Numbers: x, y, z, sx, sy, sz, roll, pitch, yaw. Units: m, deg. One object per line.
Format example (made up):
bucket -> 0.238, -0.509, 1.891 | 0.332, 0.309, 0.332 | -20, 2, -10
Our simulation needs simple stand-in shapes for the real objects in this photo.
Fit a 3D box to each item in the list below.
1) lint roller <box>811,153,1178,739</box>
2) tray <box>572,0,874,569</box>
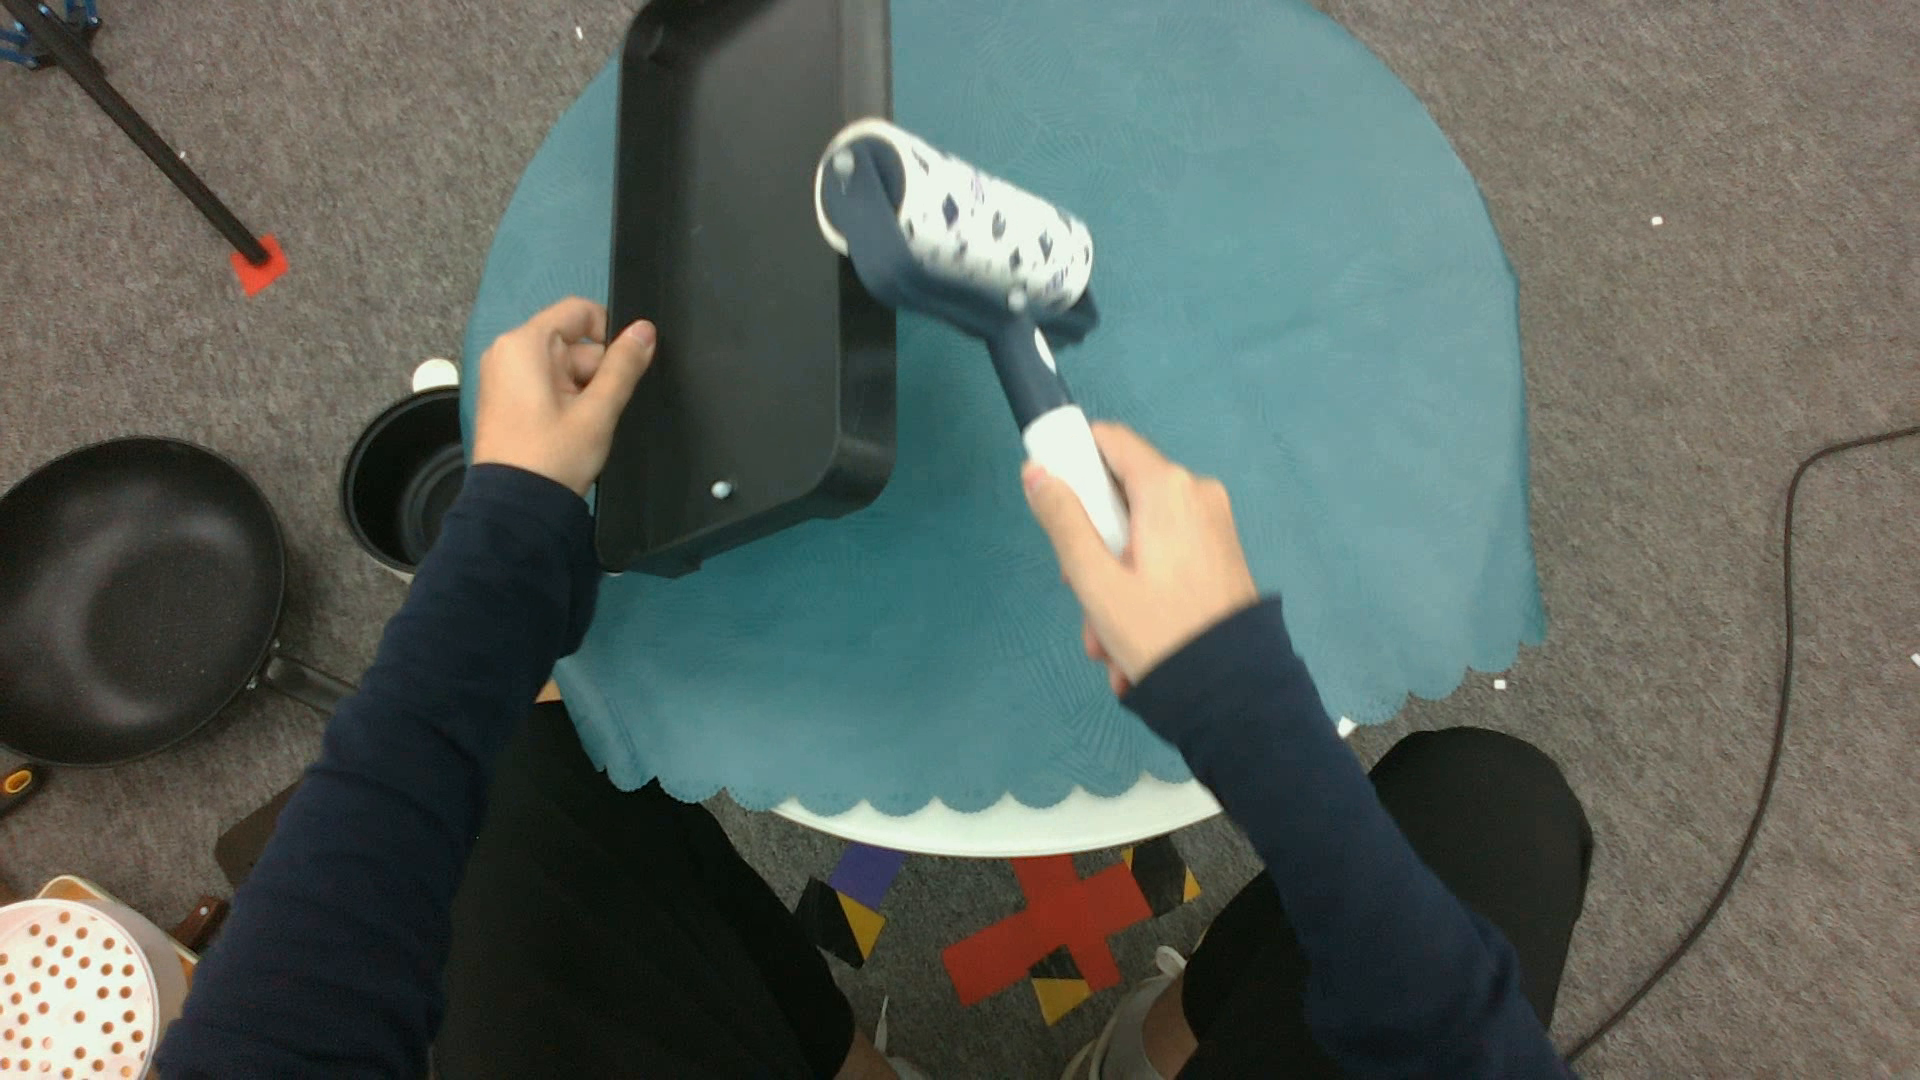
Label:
lint roller -> 0.038, -0.037, 0.578 | 0.050, 0.176, 0.247 | -30, 77, 24
tray -> -0.112, -0.152, 0.648 | 0.183, 0.037, 0.319 | -17, 67, 42
